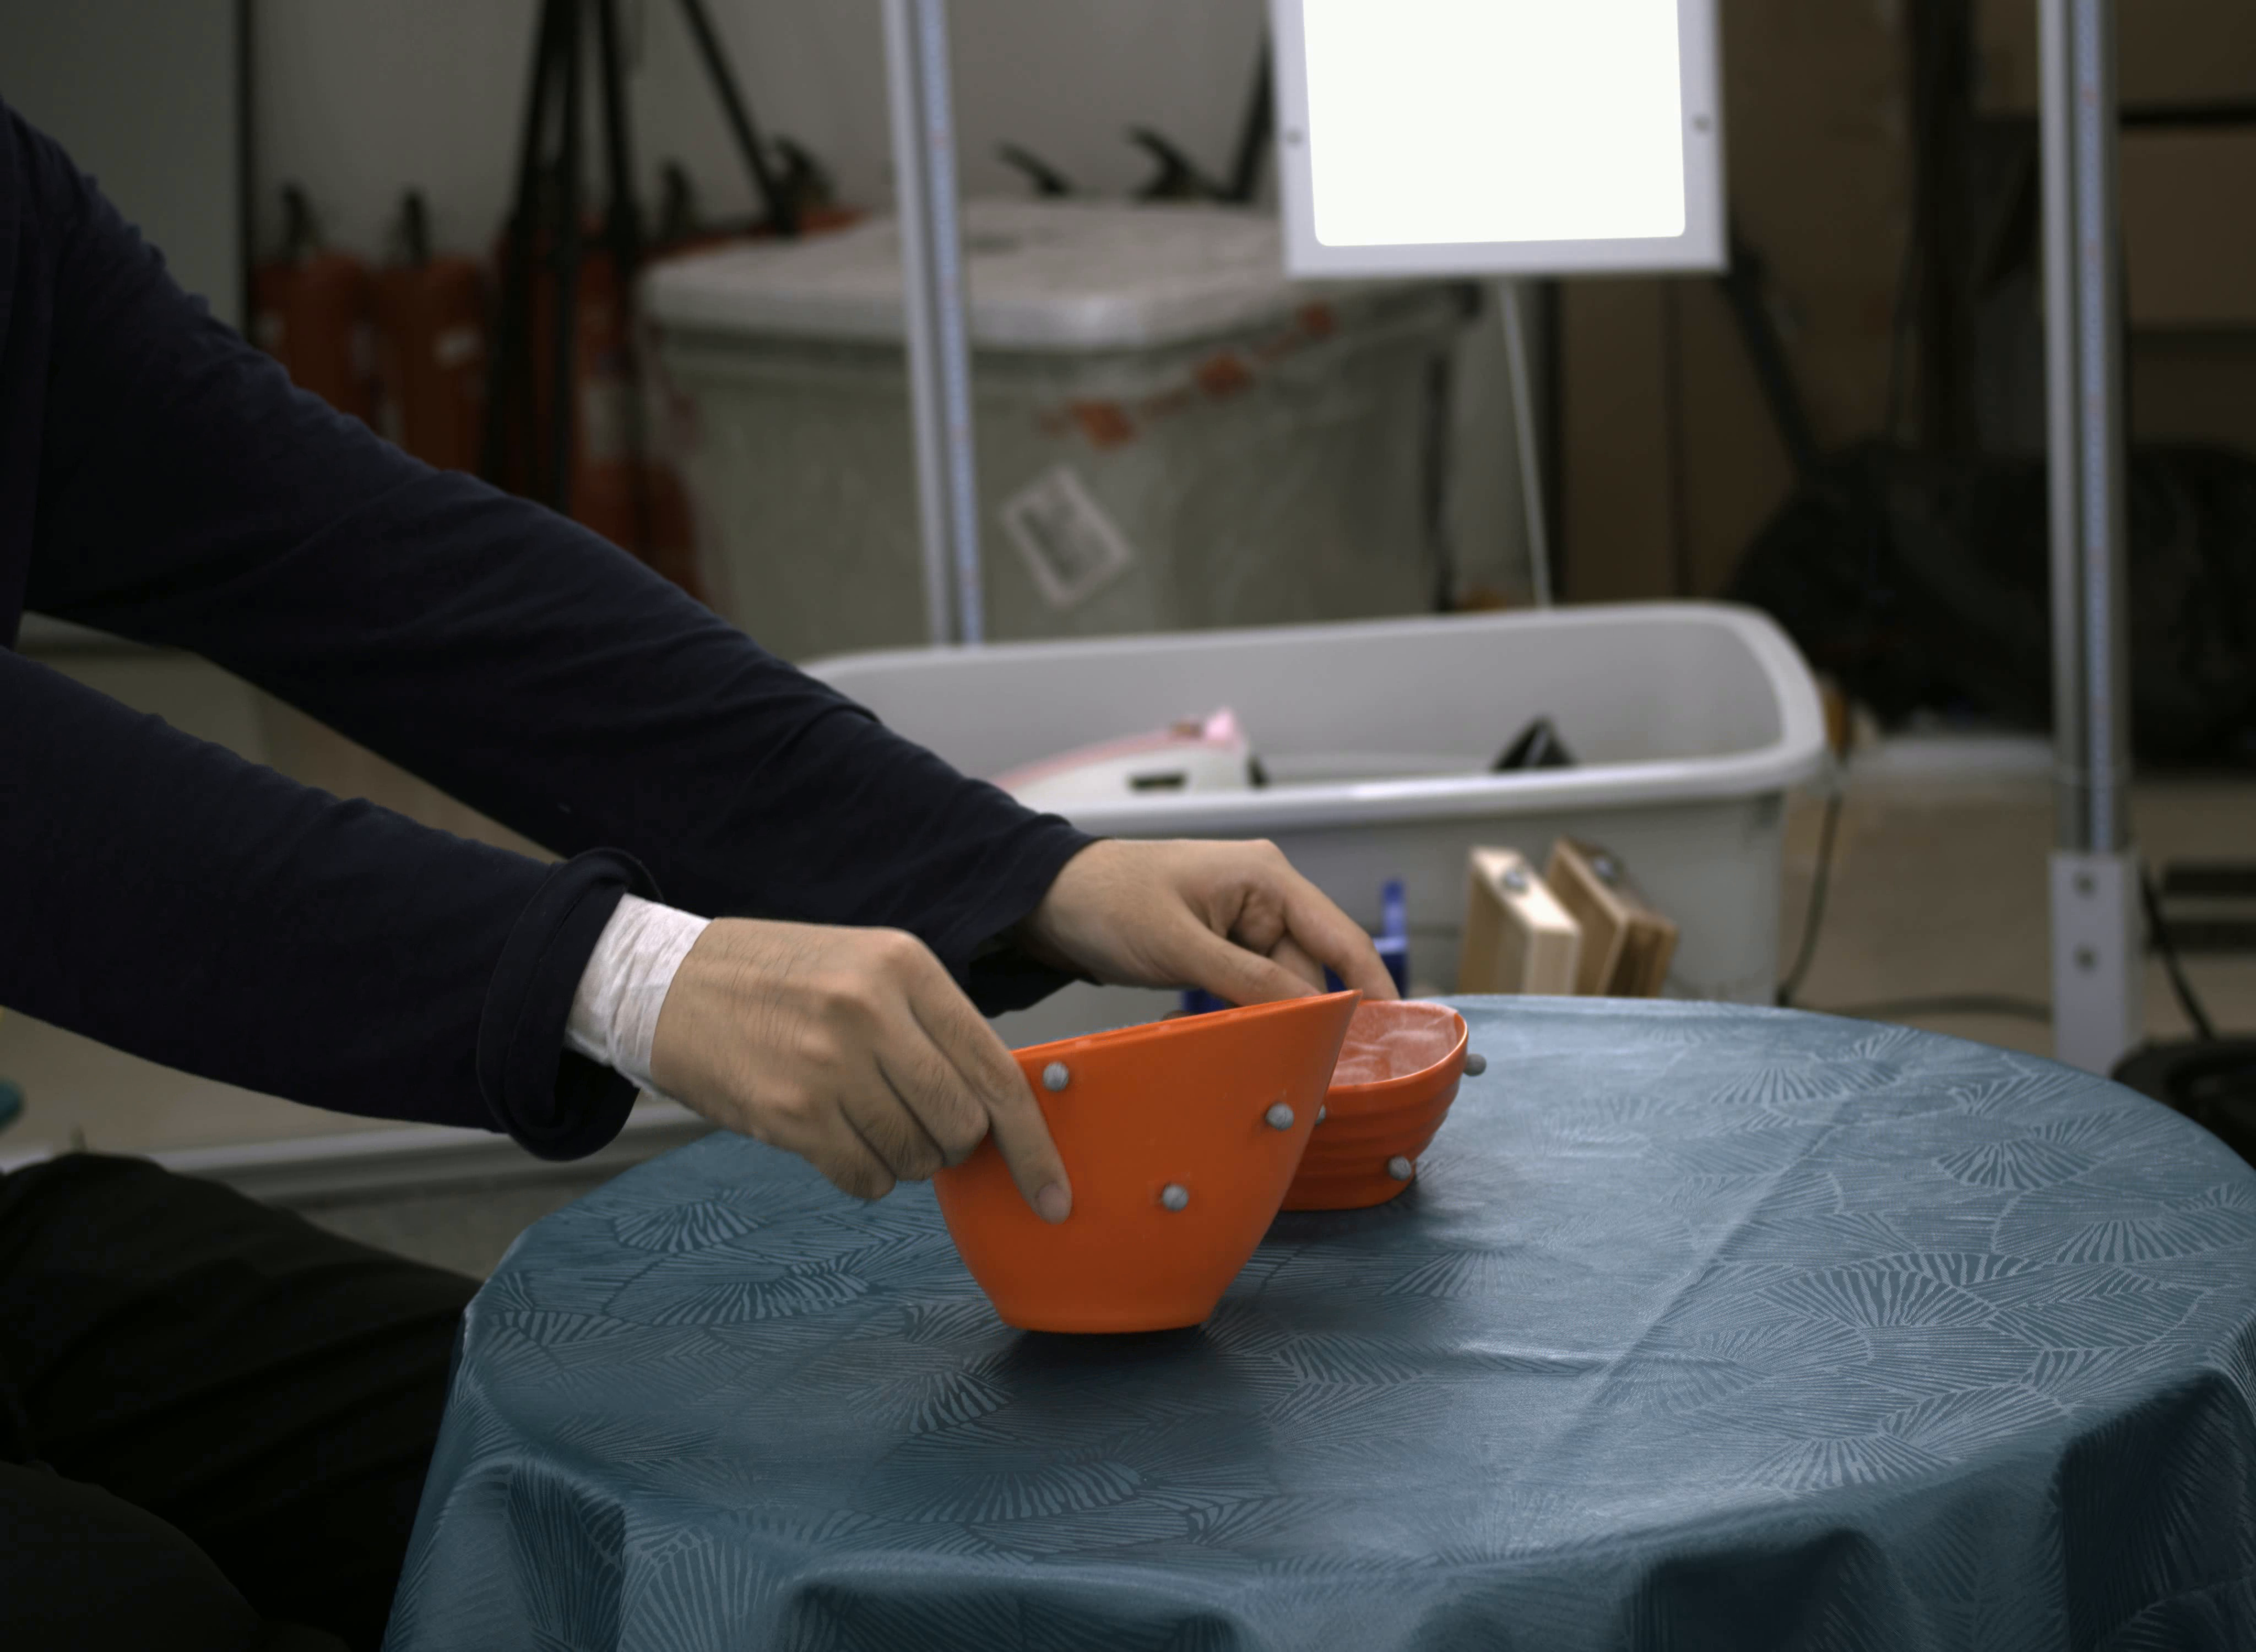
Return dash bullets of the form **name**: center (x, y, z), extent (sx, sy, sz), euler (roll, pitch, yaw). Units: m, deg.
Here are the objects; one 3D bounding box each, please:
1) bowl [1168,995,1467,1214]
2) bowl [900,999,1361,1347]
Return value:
- **bowl**: center (0.063, 0.098, 1.891), extent (0.118, 0.051, 0.119), euler (-6, 15, 0)
- **bowl**: center (0.002, 0.109, 1.742), extent (0.147, 0.105, 0.148), euler (-2, 3, -1)
